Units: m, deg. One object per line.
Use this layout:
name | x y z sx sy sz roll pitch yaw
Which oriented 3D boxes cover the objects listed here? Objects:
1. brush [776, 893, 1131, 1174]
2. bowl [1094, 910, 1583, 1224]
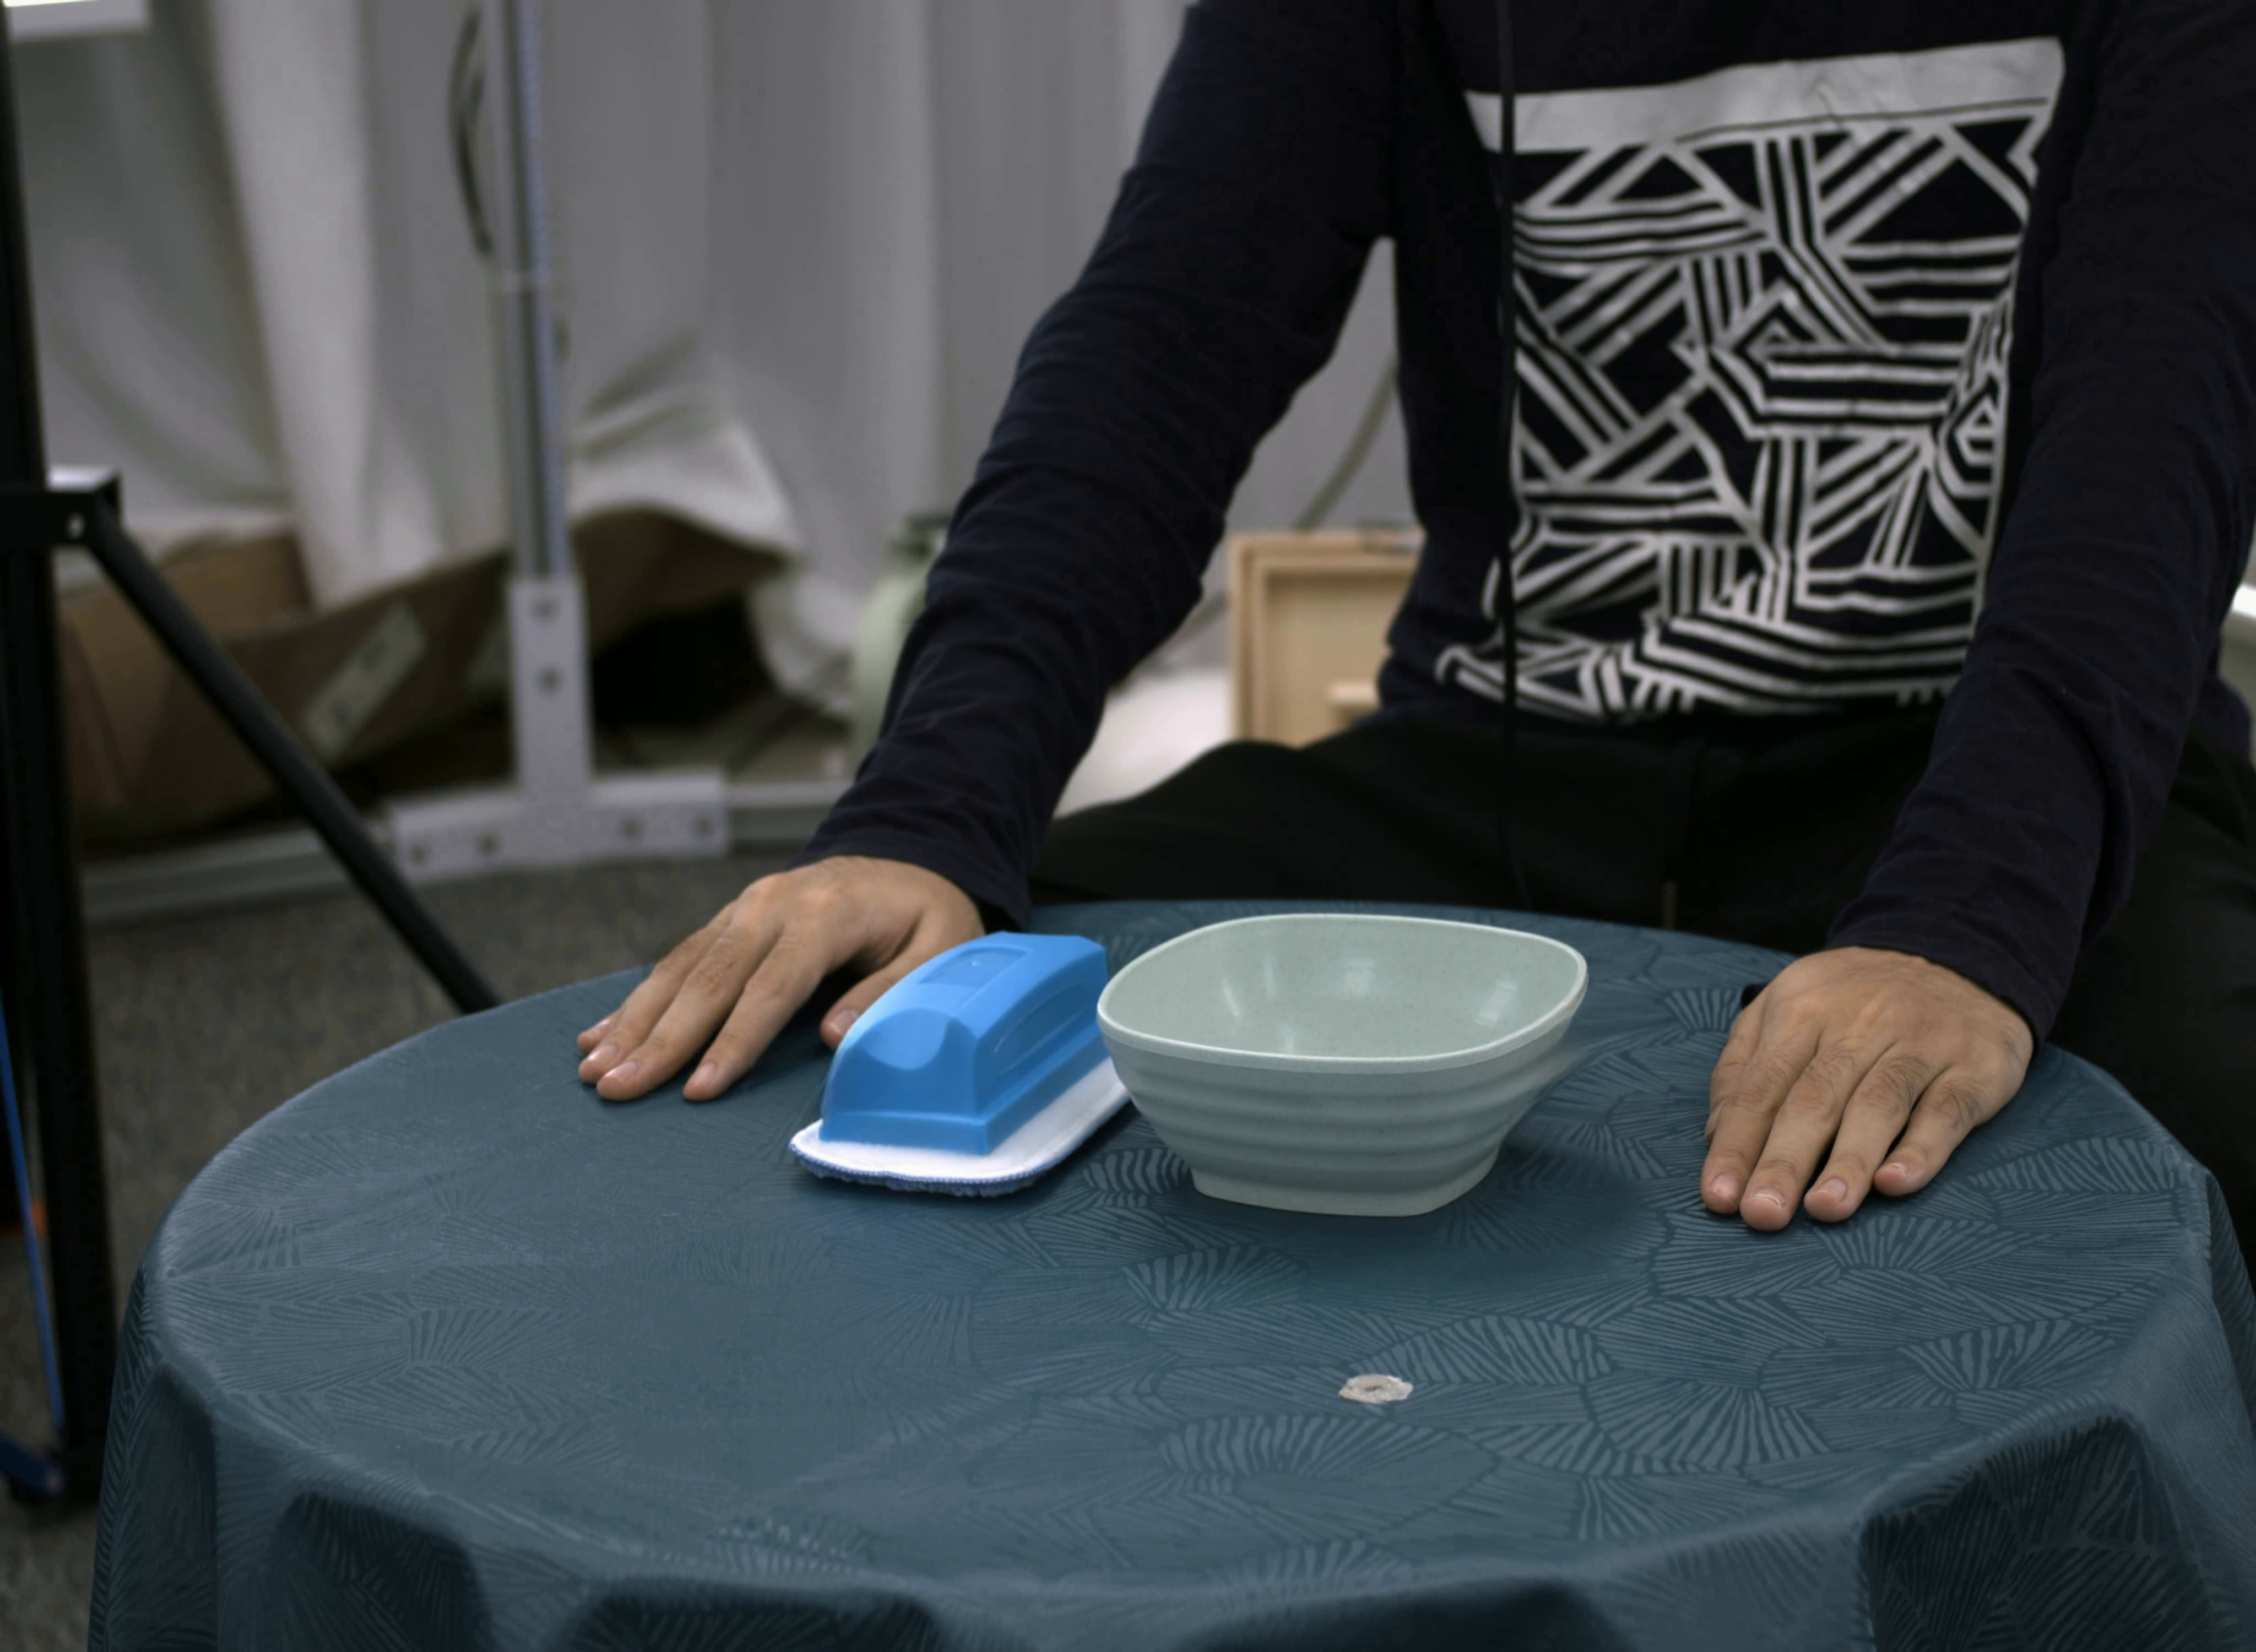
brush | -0.045 0.059 1.627 0.085 0.056 0.142 8 21 23
bowl | 0.062 0.074 1.569 0.150 0.058 0.152 -1 17 -1
